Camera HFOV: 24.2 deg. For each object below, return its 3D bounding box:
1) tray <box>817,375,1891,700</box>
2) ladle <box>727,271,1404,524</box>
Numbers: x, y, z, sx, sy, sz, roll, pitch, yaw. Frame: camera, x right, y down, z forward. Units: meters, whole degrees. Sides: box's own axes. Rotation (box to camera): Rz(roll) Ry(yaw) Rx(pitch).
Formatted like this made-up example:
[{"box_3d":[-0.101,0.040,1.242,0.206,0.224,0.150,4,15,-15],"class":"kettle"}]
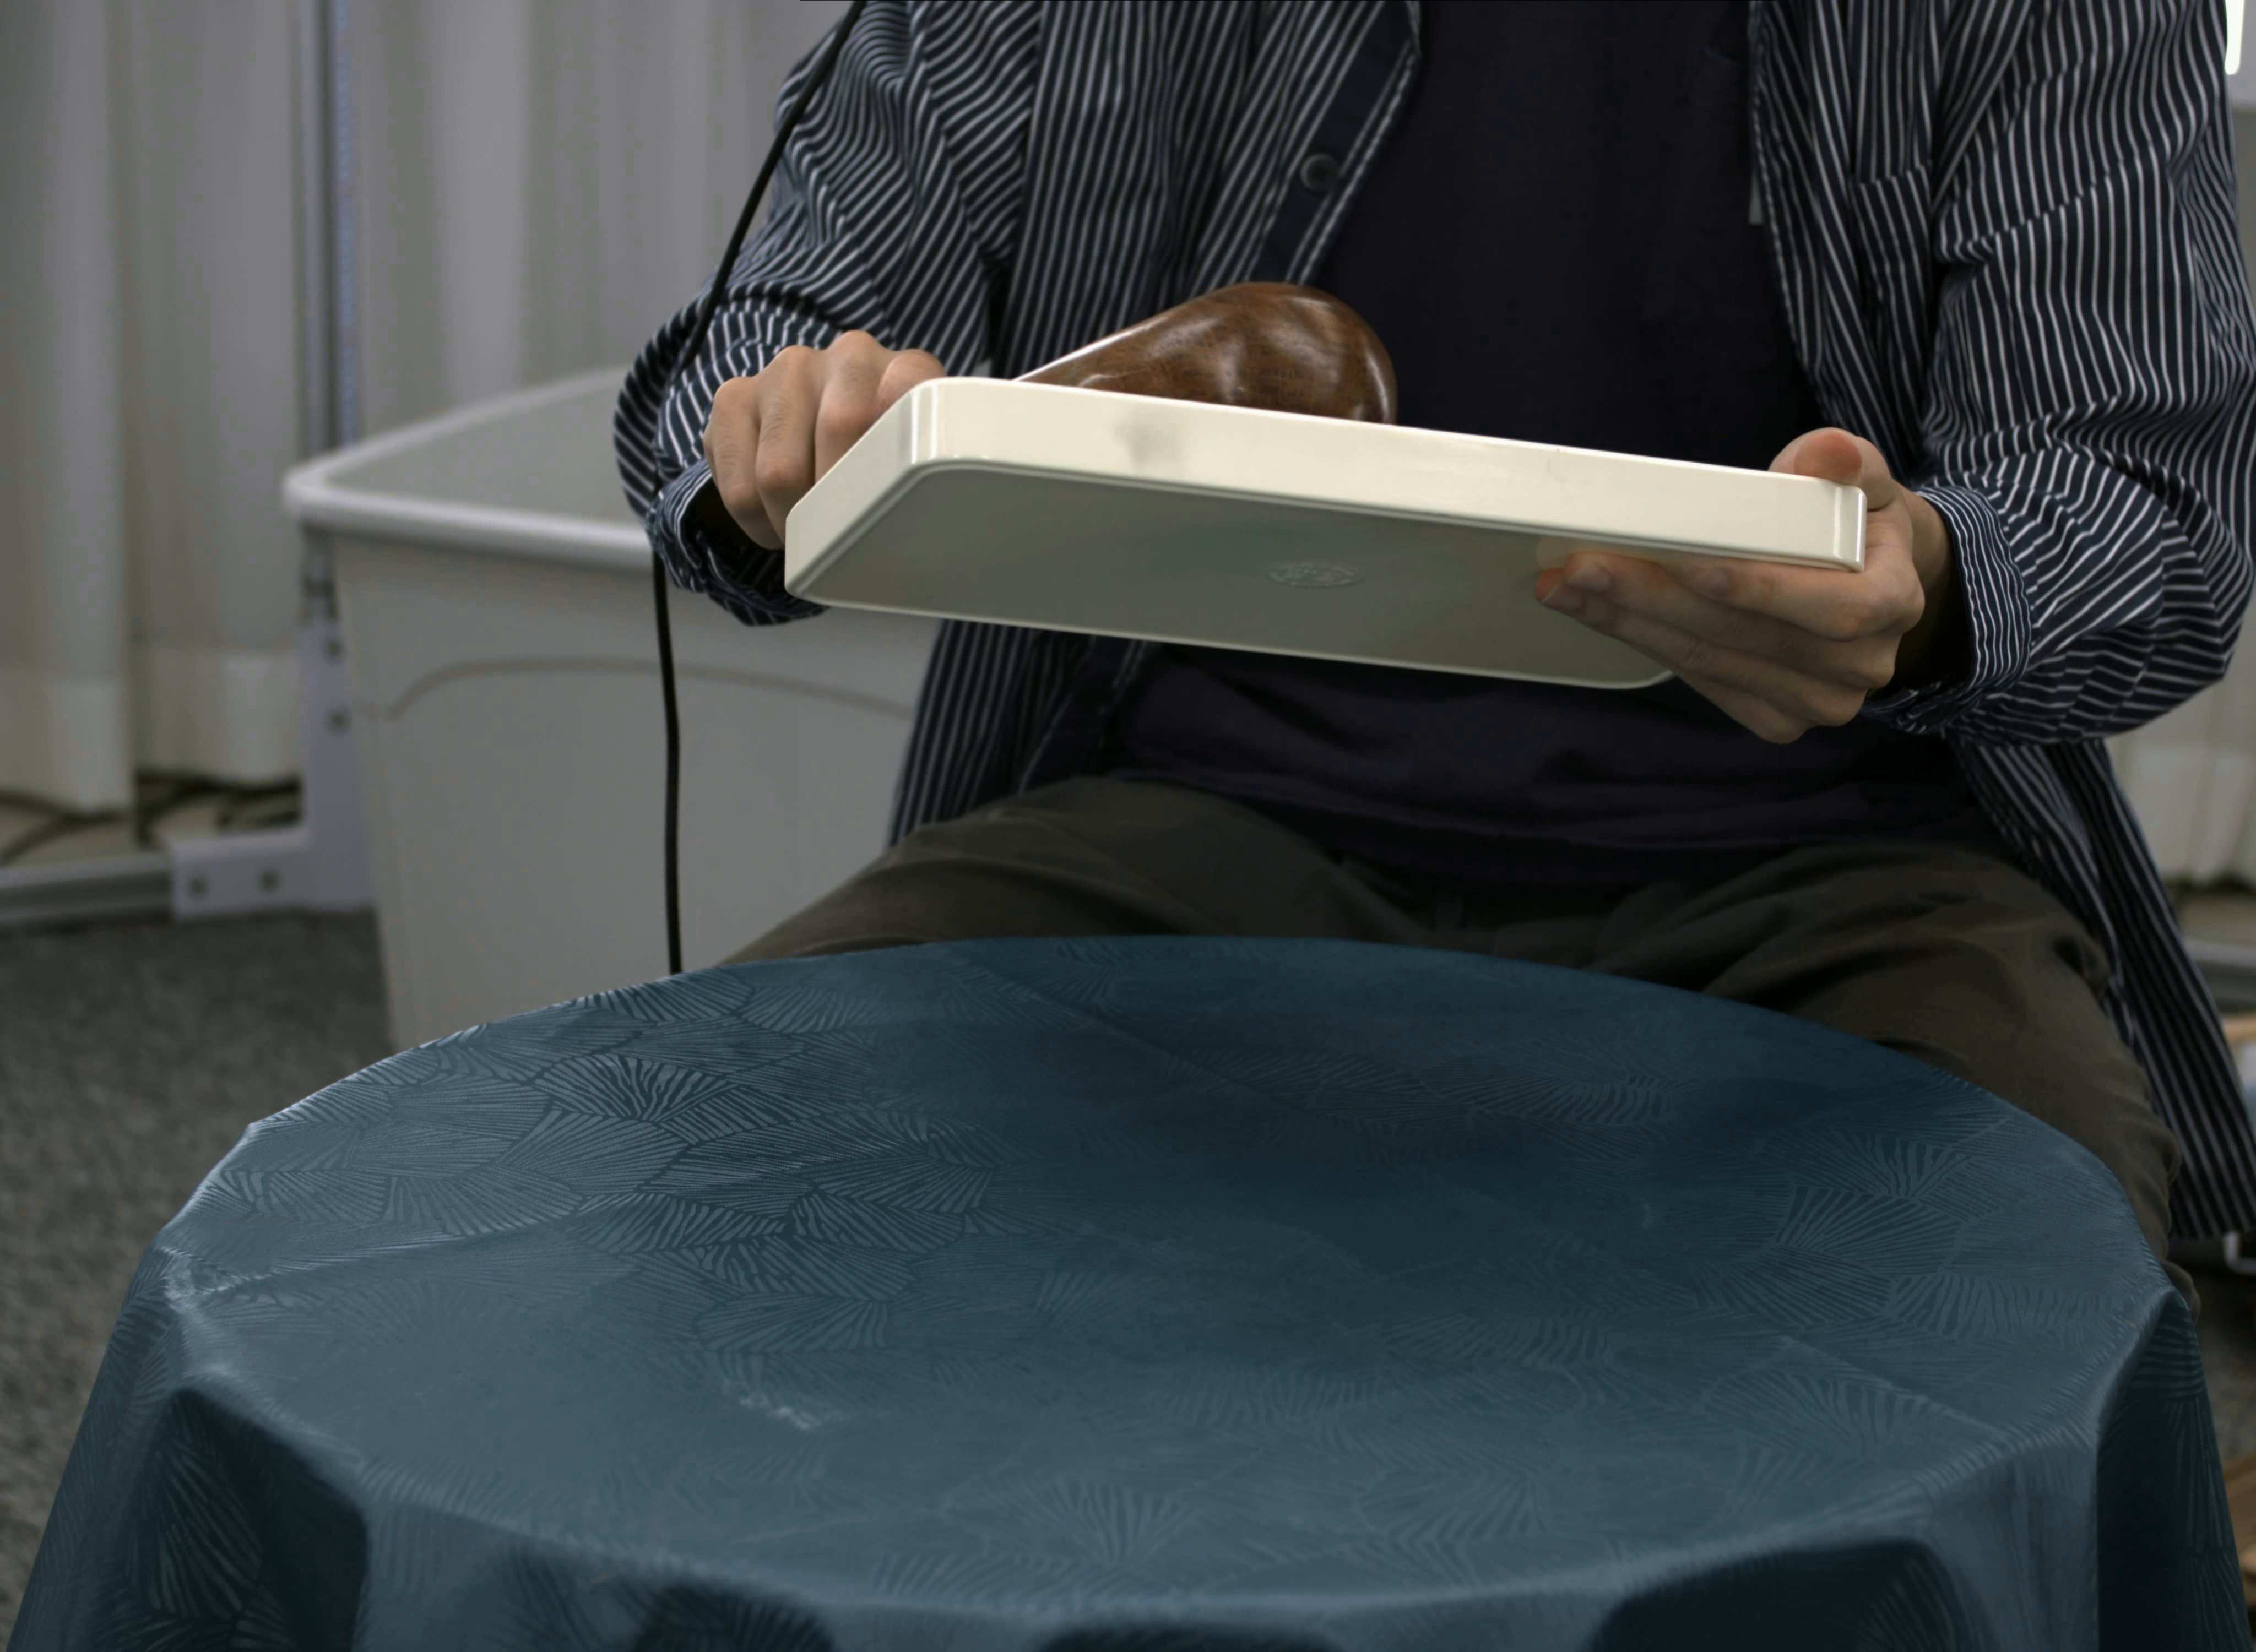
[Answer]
[{"box_3d":[0.066,-0.085,1.630,0.301,0.027,0.191,6,-13,-16],"class":"tray"},{"box_3d":[-0.021,-0.117,1.668,0.272,0.077,0.081,-14,42,51],"class":"ladle"}]
